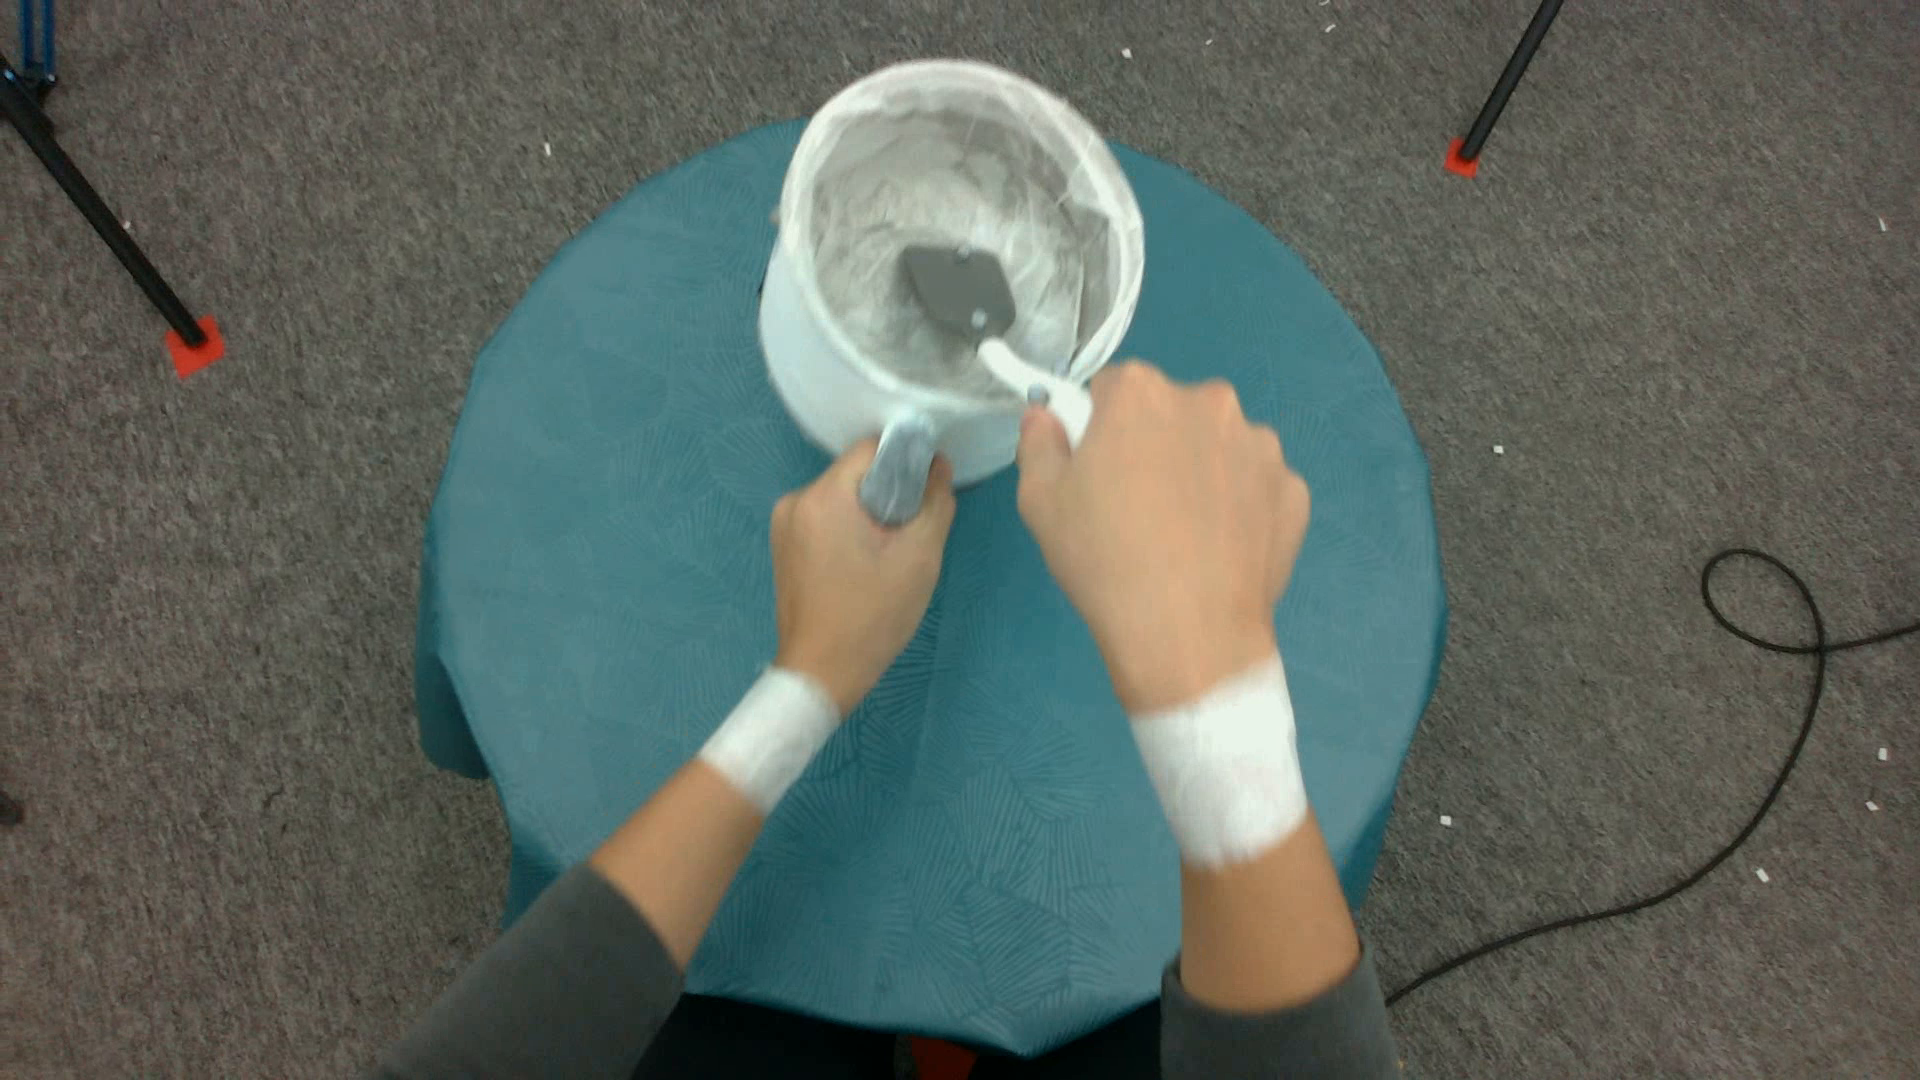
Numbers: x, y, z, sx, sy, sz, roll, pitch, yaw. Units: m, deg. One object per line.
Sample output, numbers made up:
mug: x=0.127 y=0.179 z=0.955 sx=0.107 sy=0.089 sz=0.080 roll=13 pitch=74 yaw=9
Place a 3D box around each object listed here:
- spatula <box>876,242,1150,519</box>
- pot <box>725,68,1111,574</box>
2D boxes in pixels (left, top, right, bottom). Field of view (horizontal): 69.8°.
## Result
spatula: x=0.016 y=-0.086 z=0.622 sx=0.059 sy=0.032 sz=0.288 roll=-3 pitch=28 yaw=-16
pot: x=-0.033 y=-0.102 z=0.698 sx=0.179 sy=0.136 sz=0.234 roll=15 pitch=71 yaw=-10
